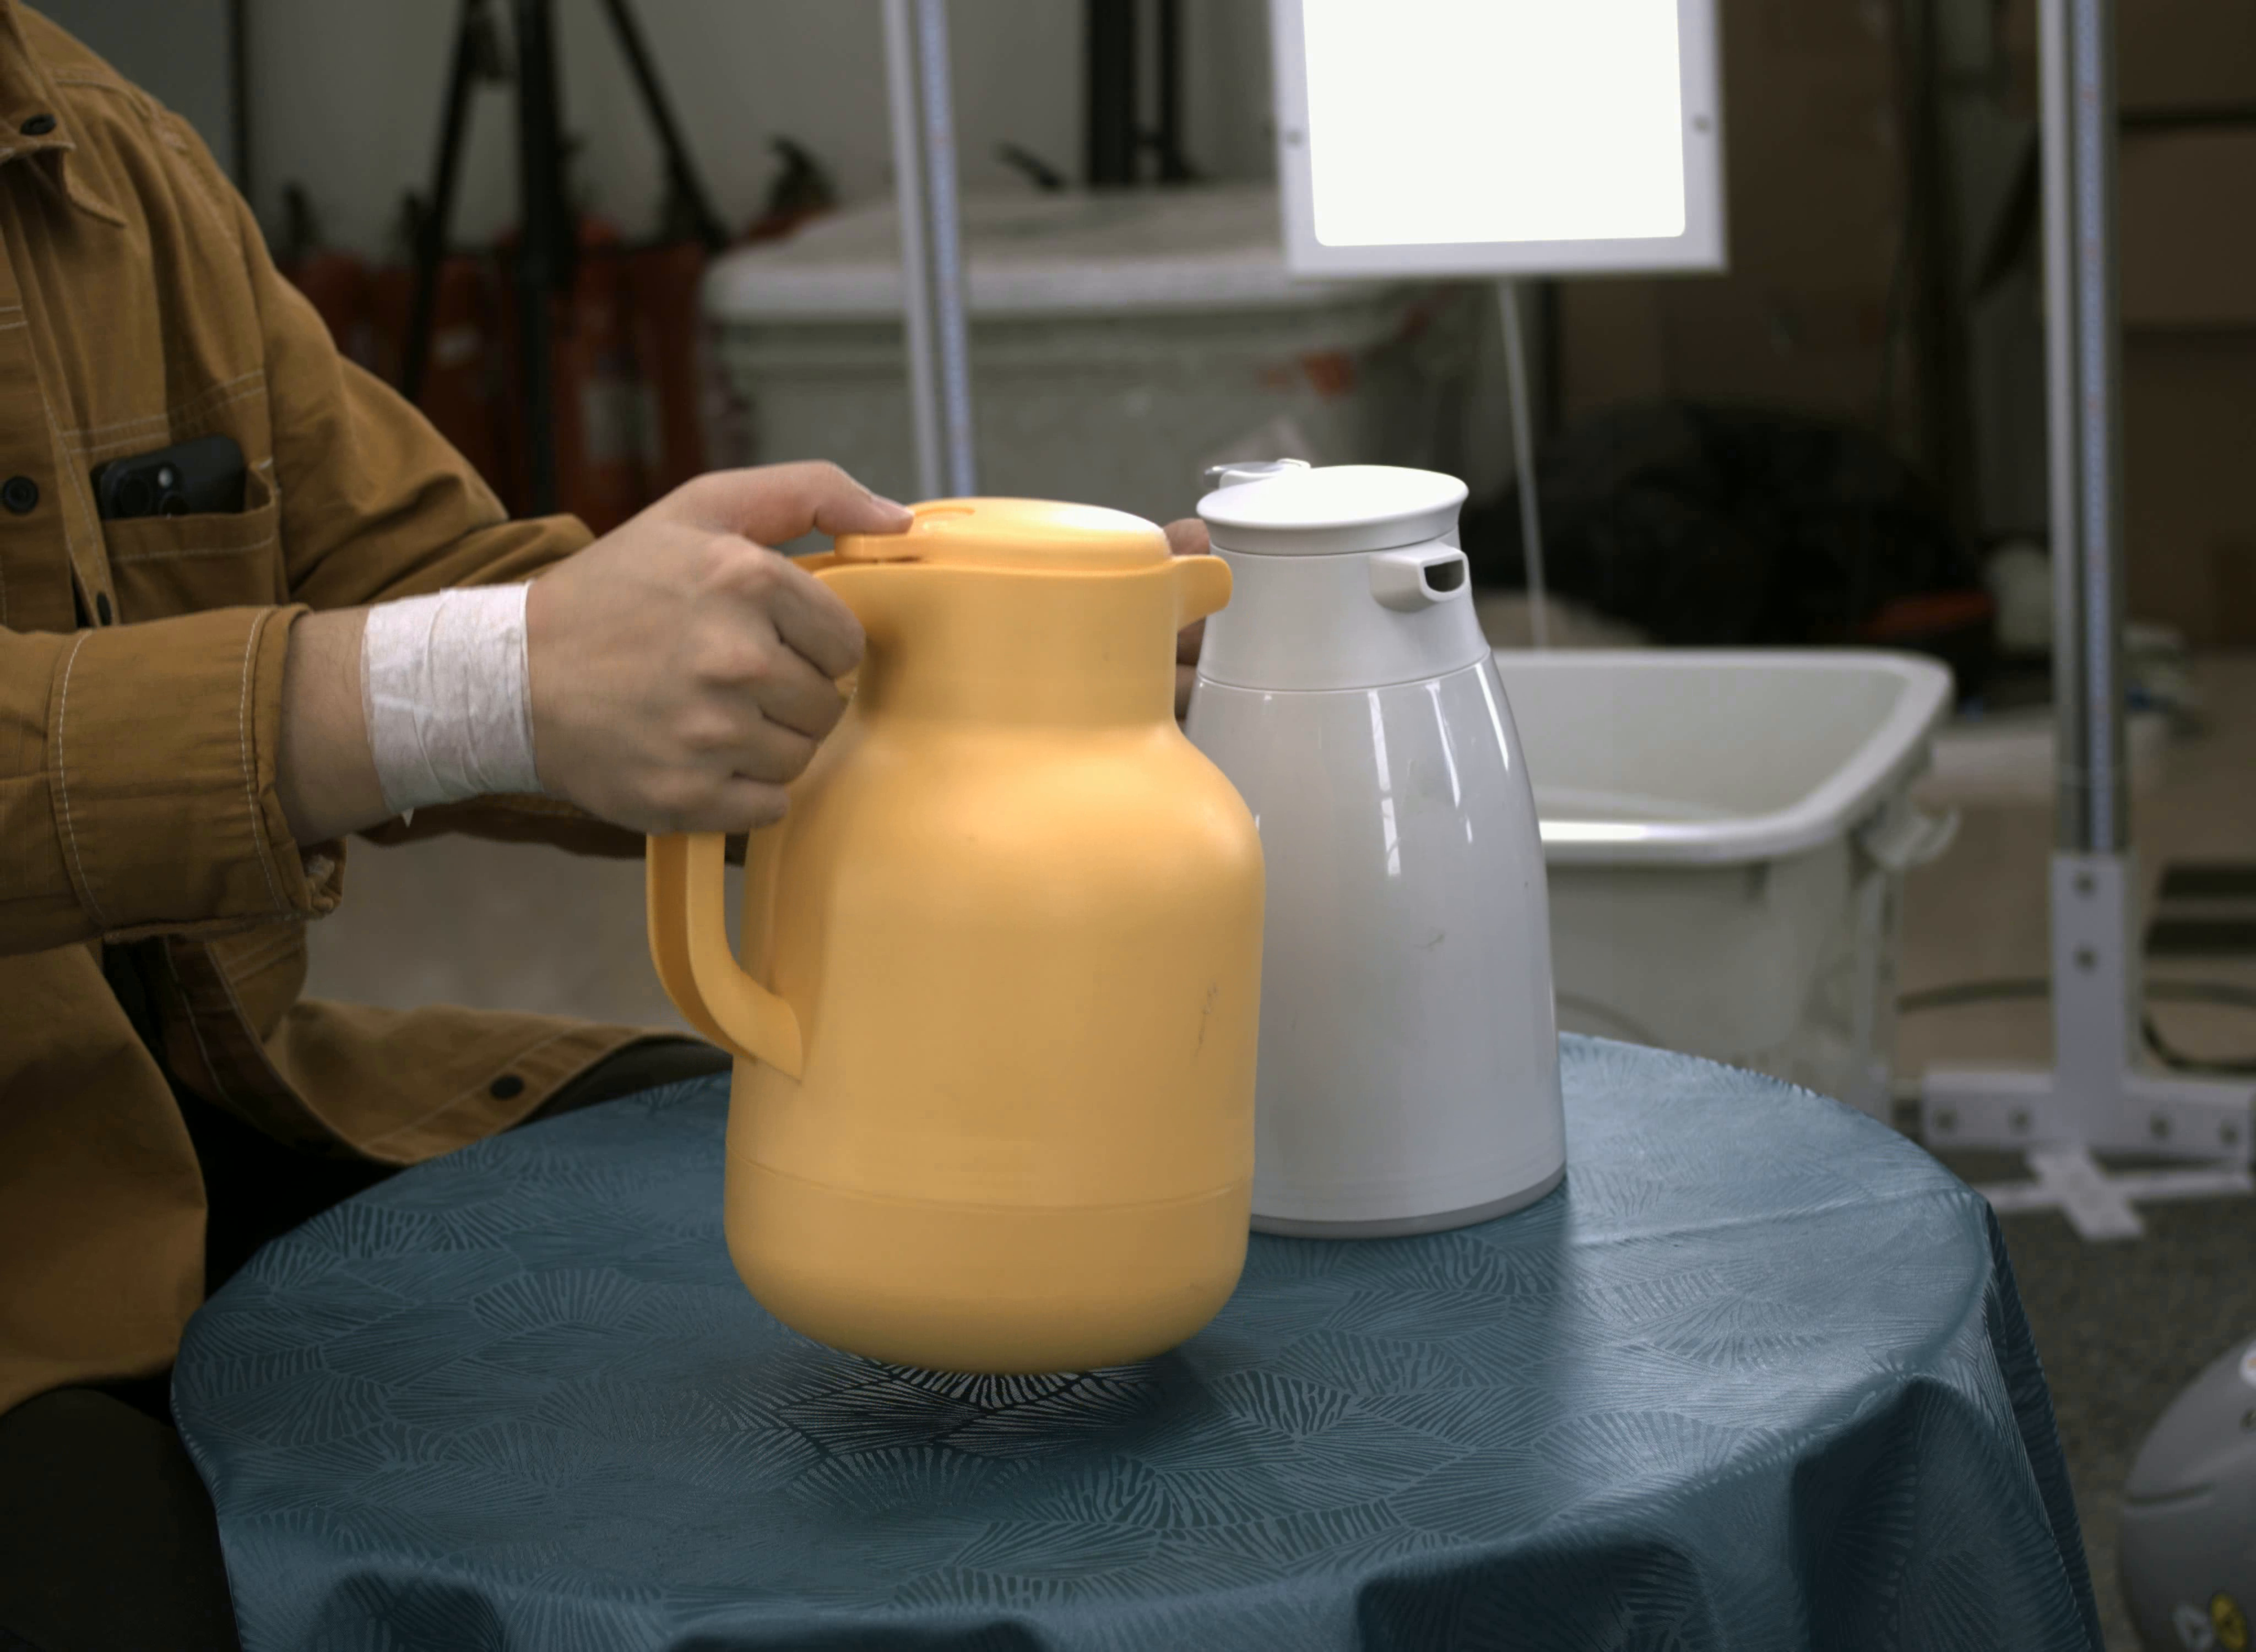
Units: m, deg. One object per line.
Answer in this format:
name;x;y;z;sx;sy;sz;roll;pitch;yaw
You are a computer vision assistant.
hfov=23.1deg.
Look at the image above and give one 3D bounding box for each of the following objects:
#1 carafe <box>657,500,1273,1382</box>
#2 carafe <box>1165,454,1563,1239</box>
carafe;-0.053;0.032;1.678;0.197;0.261;0.166;-3;10;-32
carafe;0.064;-0.001;1.874;0.129;0.249;0.171;-13;15;-31
